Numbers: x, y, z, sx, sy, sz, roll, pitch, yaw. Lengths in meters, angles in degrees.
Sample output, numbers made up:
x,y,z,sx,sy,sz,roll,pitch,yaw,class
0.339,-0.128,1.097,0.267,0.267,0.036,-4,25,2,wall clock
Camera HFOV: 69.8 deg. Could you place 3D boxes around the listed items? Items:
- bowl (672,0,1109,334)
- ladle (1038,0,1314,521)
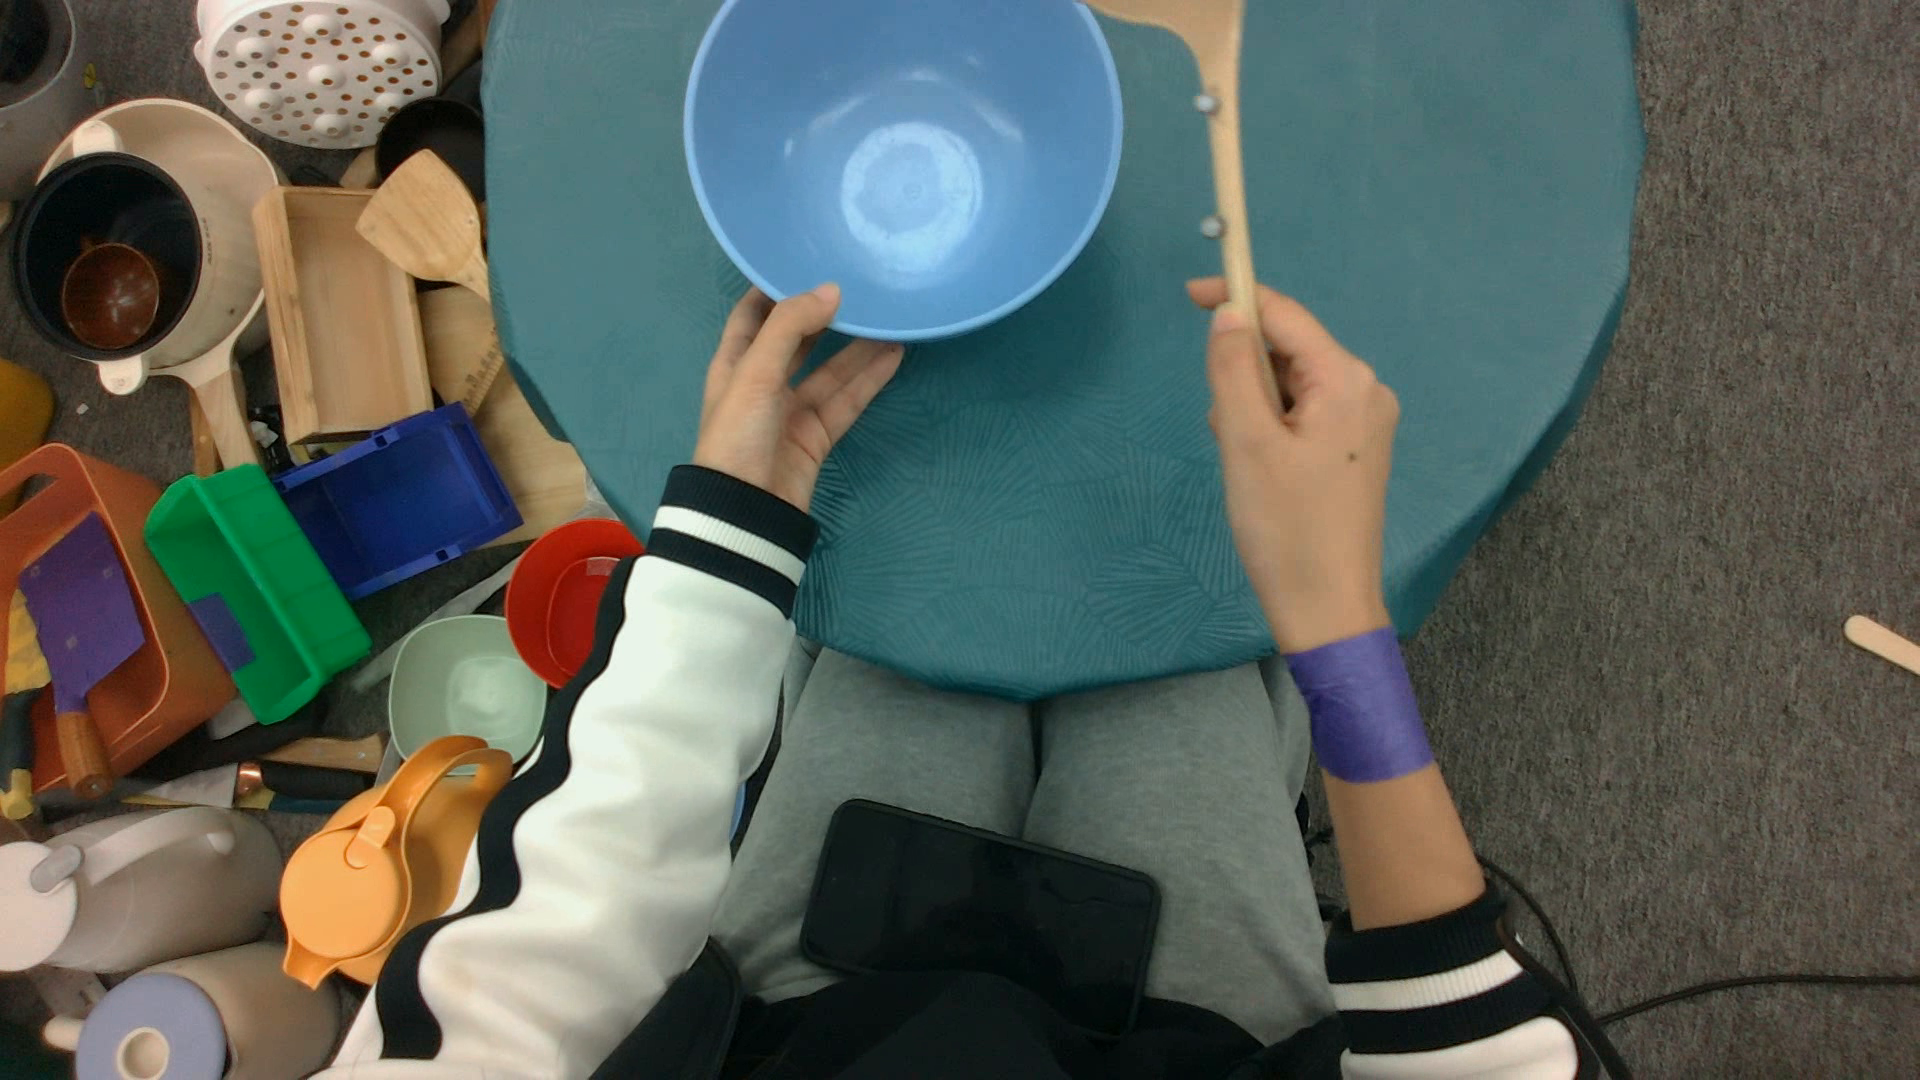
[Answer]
x,y,z,sx,sy,sz,roll,pitch,yaw,class
-0.032,-0.185,0.663,0.196,0.095,0.196,0,83,-2,bowl
0.070,-0.124,0.506,0.073,0.072,0.254,-12,88,-28,ladle
